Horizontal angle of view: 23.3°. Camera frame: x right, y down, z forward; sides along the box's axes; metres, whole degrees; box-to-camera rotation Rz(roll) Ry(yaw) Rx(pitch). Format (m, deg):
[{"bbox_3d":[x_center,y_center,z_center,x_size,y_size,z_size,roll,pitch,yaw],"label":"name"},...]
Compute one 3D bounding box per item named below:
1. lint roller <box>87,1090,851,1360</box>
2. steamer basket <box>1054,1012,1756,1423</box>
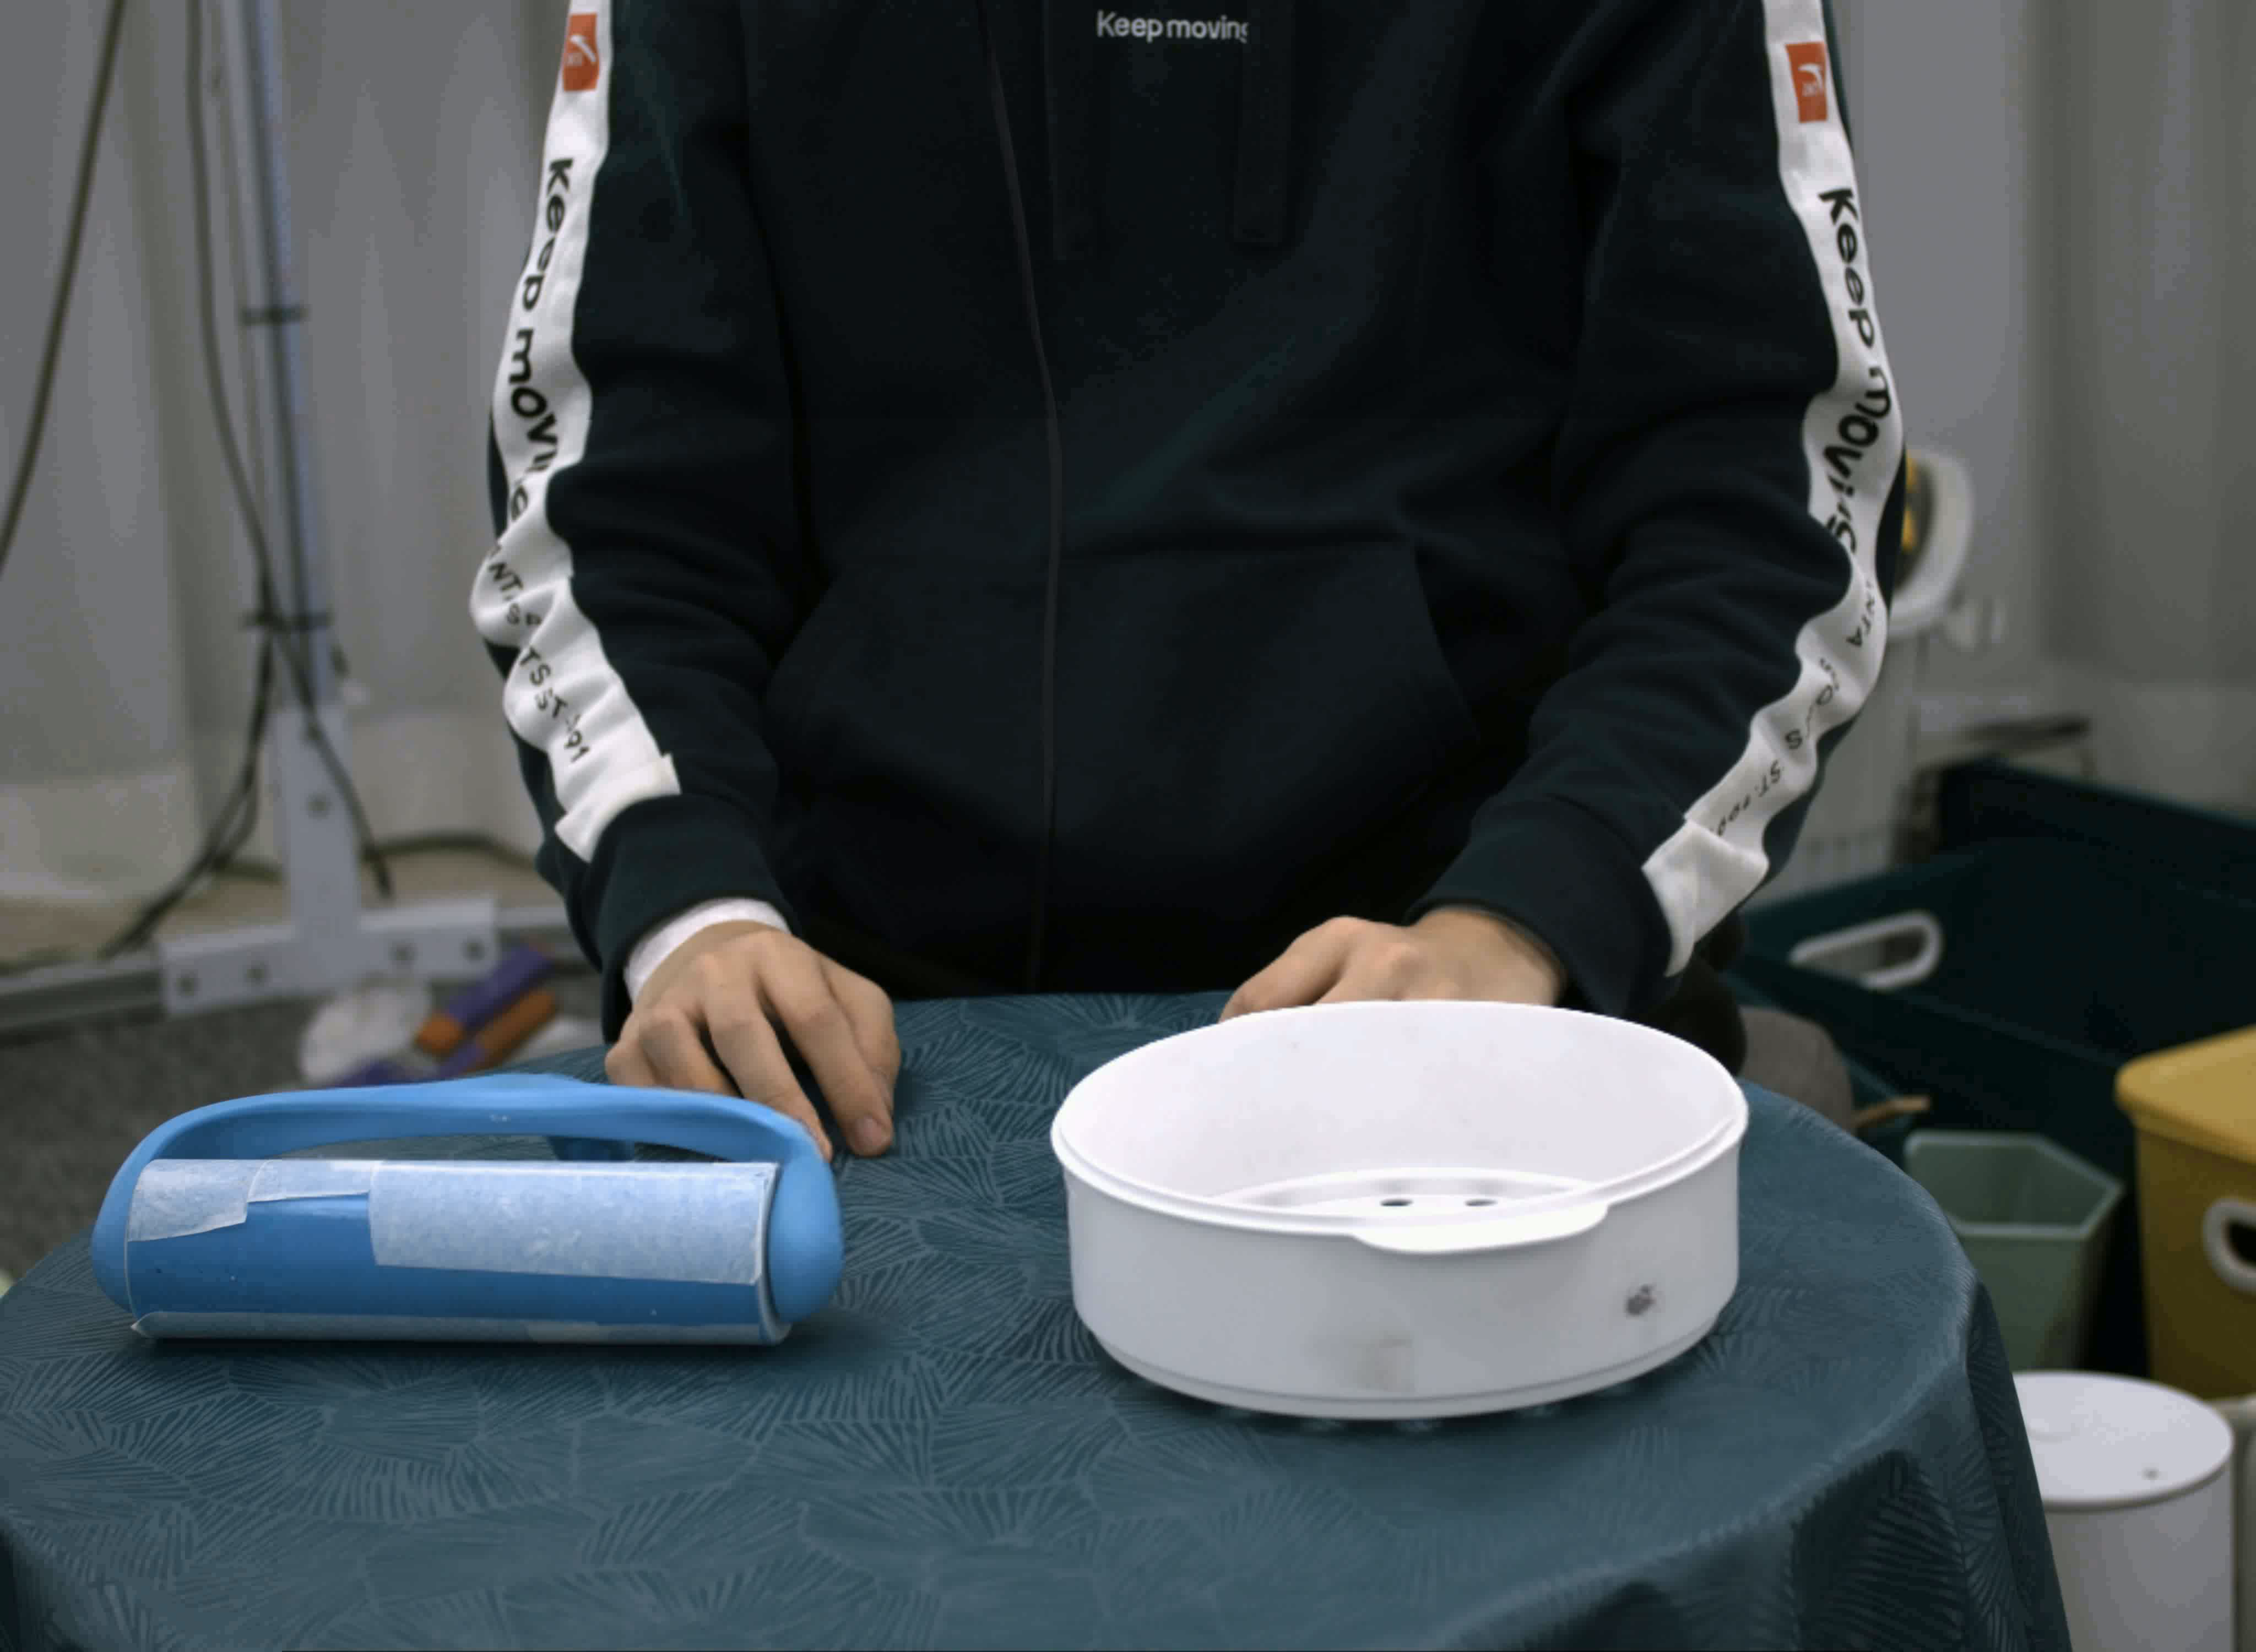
[{"bbox_3d":[-0.189,0.111,1.663,0.228,0.067,0.181,-4,16,7],"label":"lint roller"},{"bbox_3d":[0.080,0.112,1.575,0.201,0.069,0.232,-5,14,-10],"label":"steamer basket"}]
